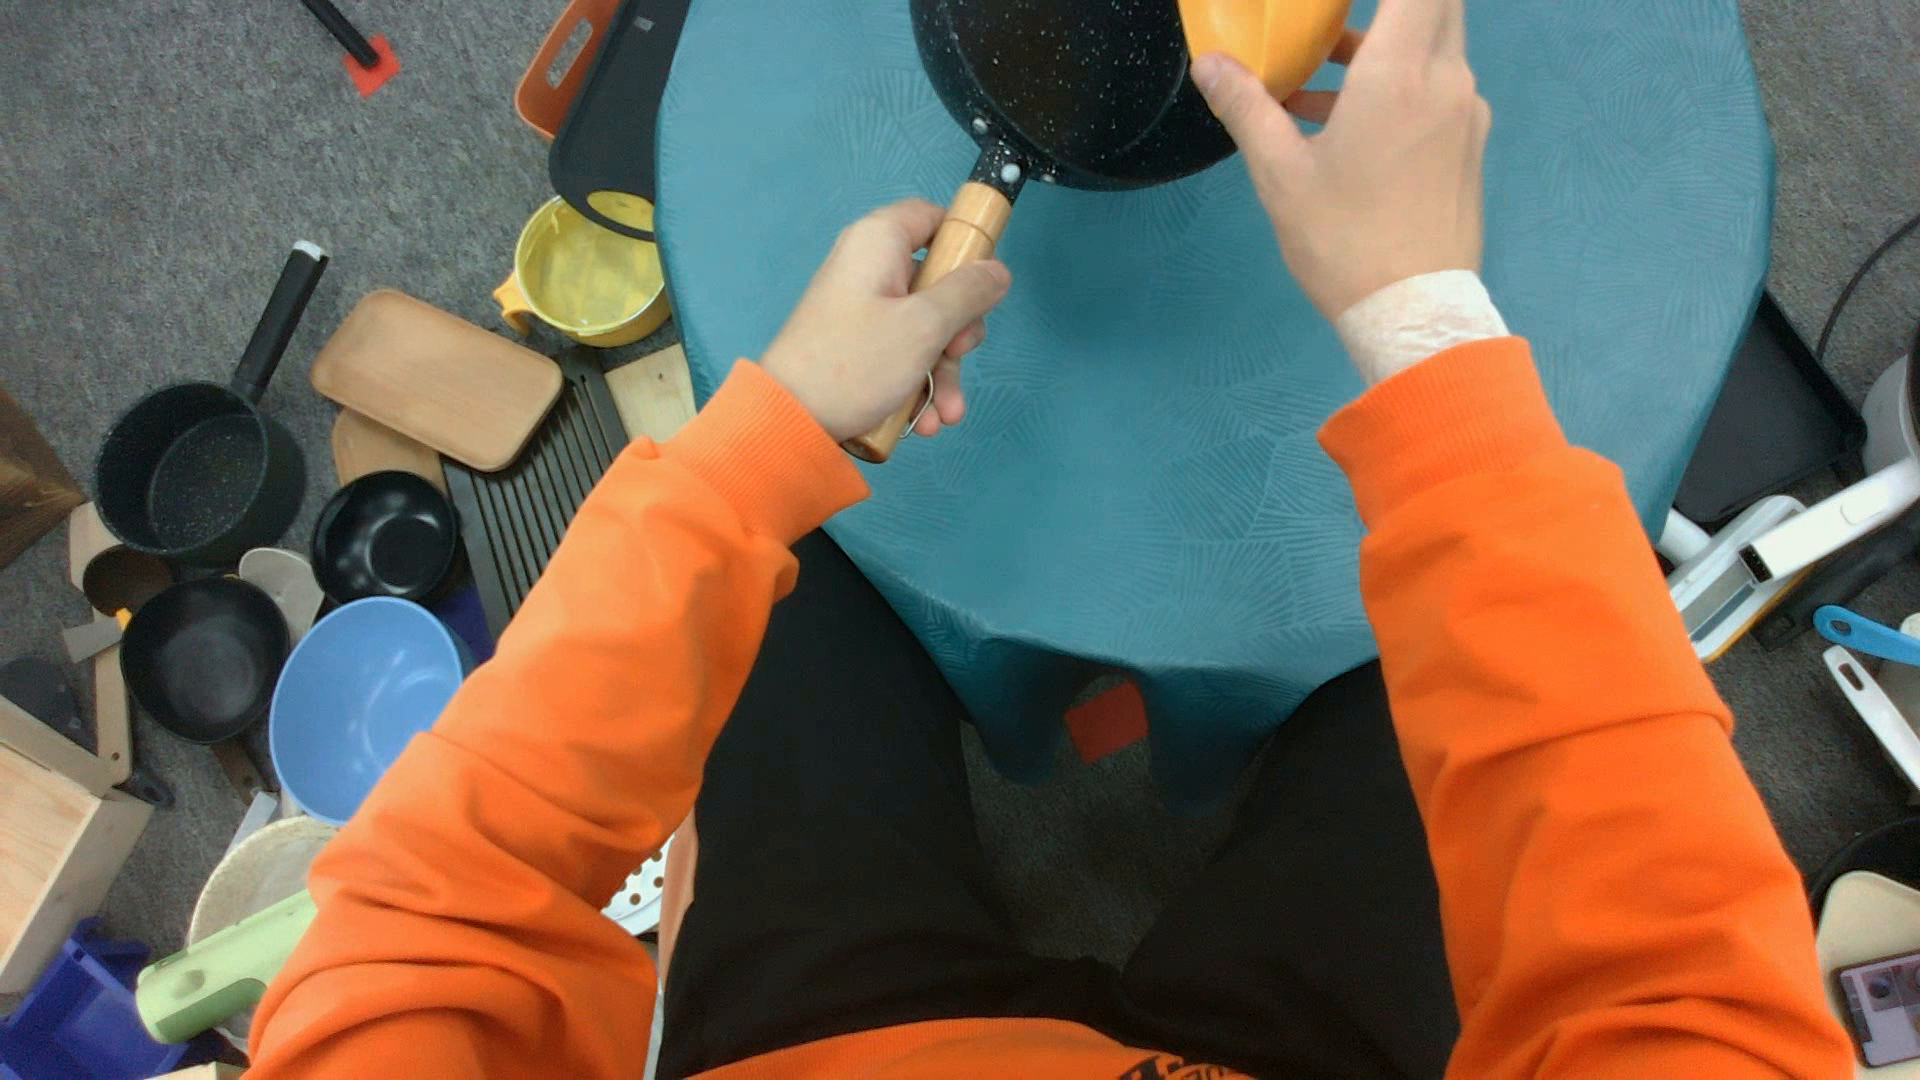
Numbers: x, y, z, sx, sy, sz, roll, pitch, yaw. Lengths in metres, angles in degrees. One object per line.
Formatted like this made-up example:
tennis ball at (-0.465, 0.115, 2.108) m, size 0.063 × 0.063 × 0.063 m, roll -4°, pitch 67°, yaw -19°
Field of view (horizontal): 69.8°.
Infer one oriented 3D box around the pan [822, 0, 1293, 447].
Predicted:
pan at (0.021, -0.191, 0.626) m, size 0.207 × 0.108 × 0.343 m, roll 31°, pitch 82°, yaw -22°

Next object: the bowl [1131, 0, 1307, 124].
bowl at (0.115, -0.253, 0.581) m, size 0.060 × 0.145 × 0.145 m, roll -9°, pitch 75°, yaw -6°
